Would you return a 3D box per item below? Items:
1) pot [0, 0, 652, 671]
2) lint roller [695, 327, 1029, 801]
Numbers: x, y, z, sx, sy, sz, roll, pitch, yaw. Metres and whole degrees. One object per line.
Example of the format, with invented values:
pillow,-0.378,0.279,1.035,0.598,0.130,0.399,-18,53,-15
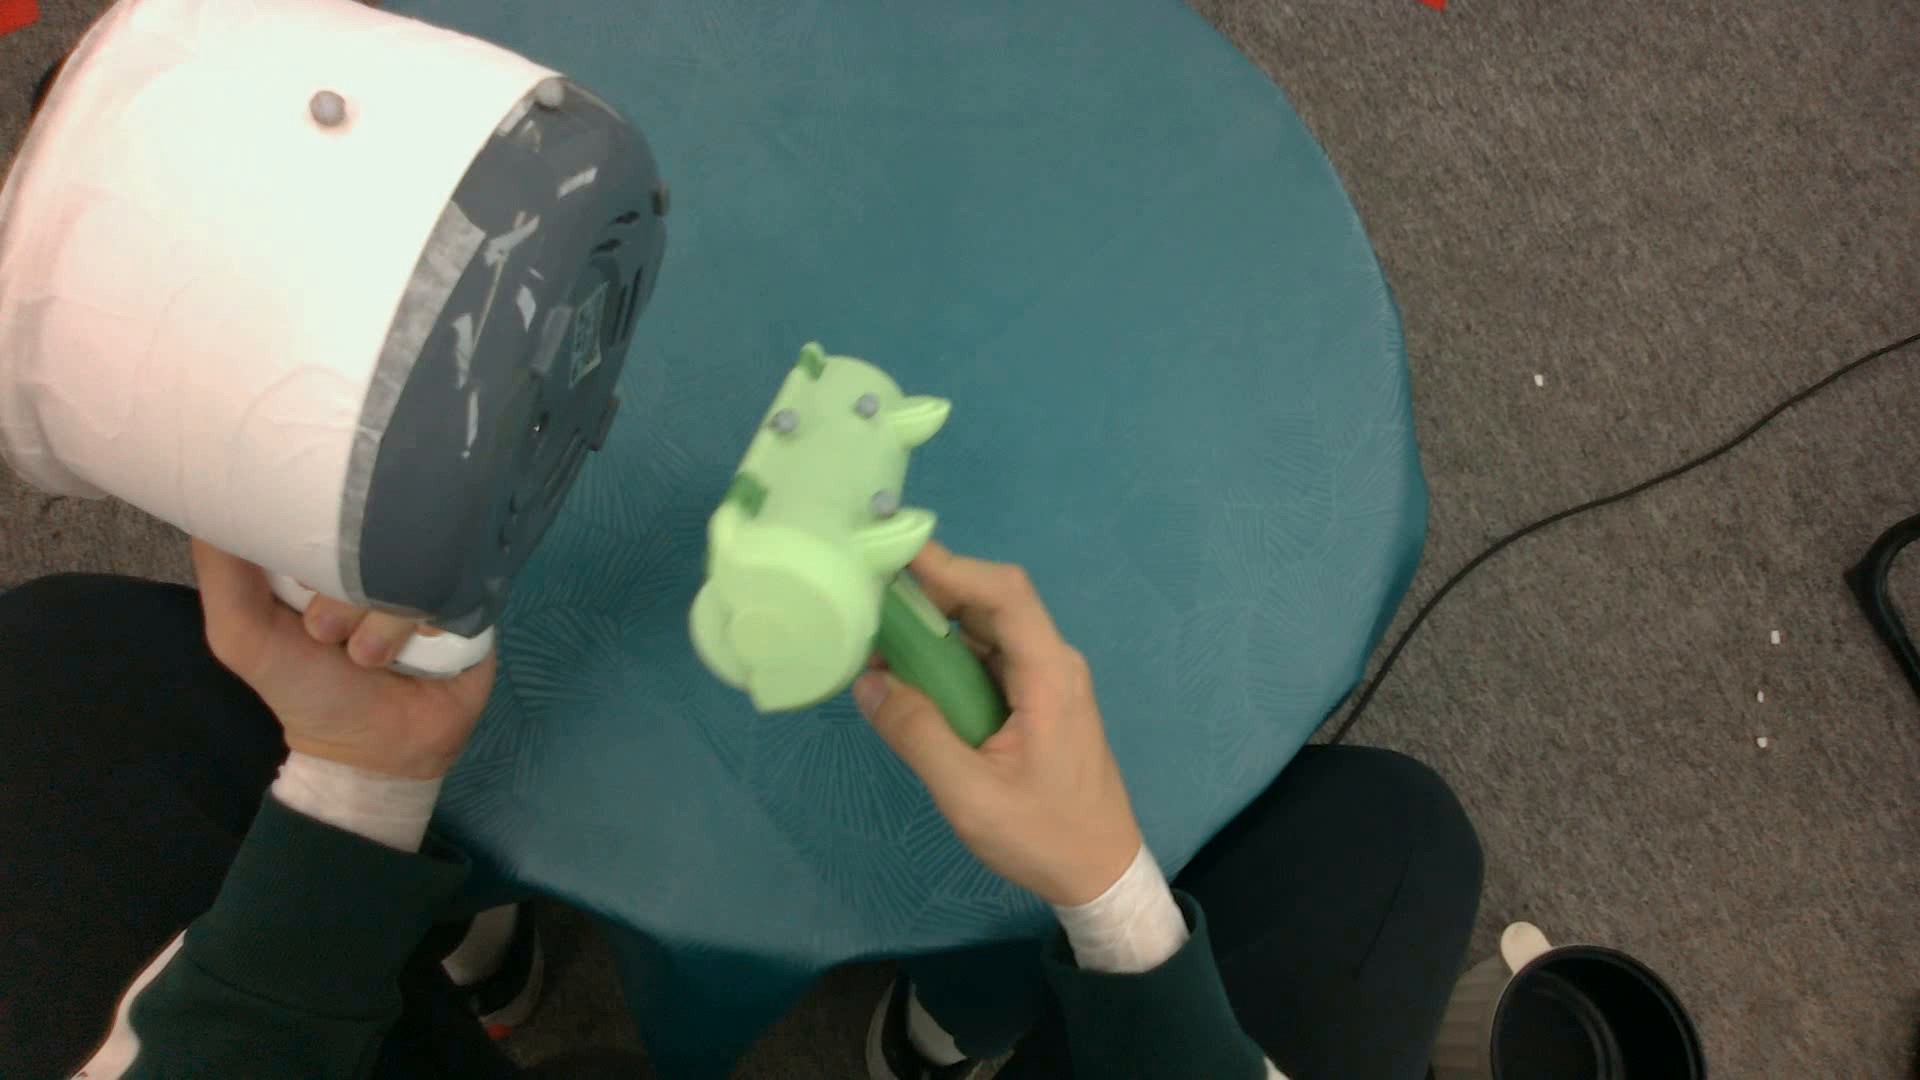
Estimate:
pot,-0.197,-0.054,0.448,0.136,0.232,0.179,21,36,-8
lint roller,-0.012,0.016,0.501,0.082,0.199,0.183,-37,108,15
